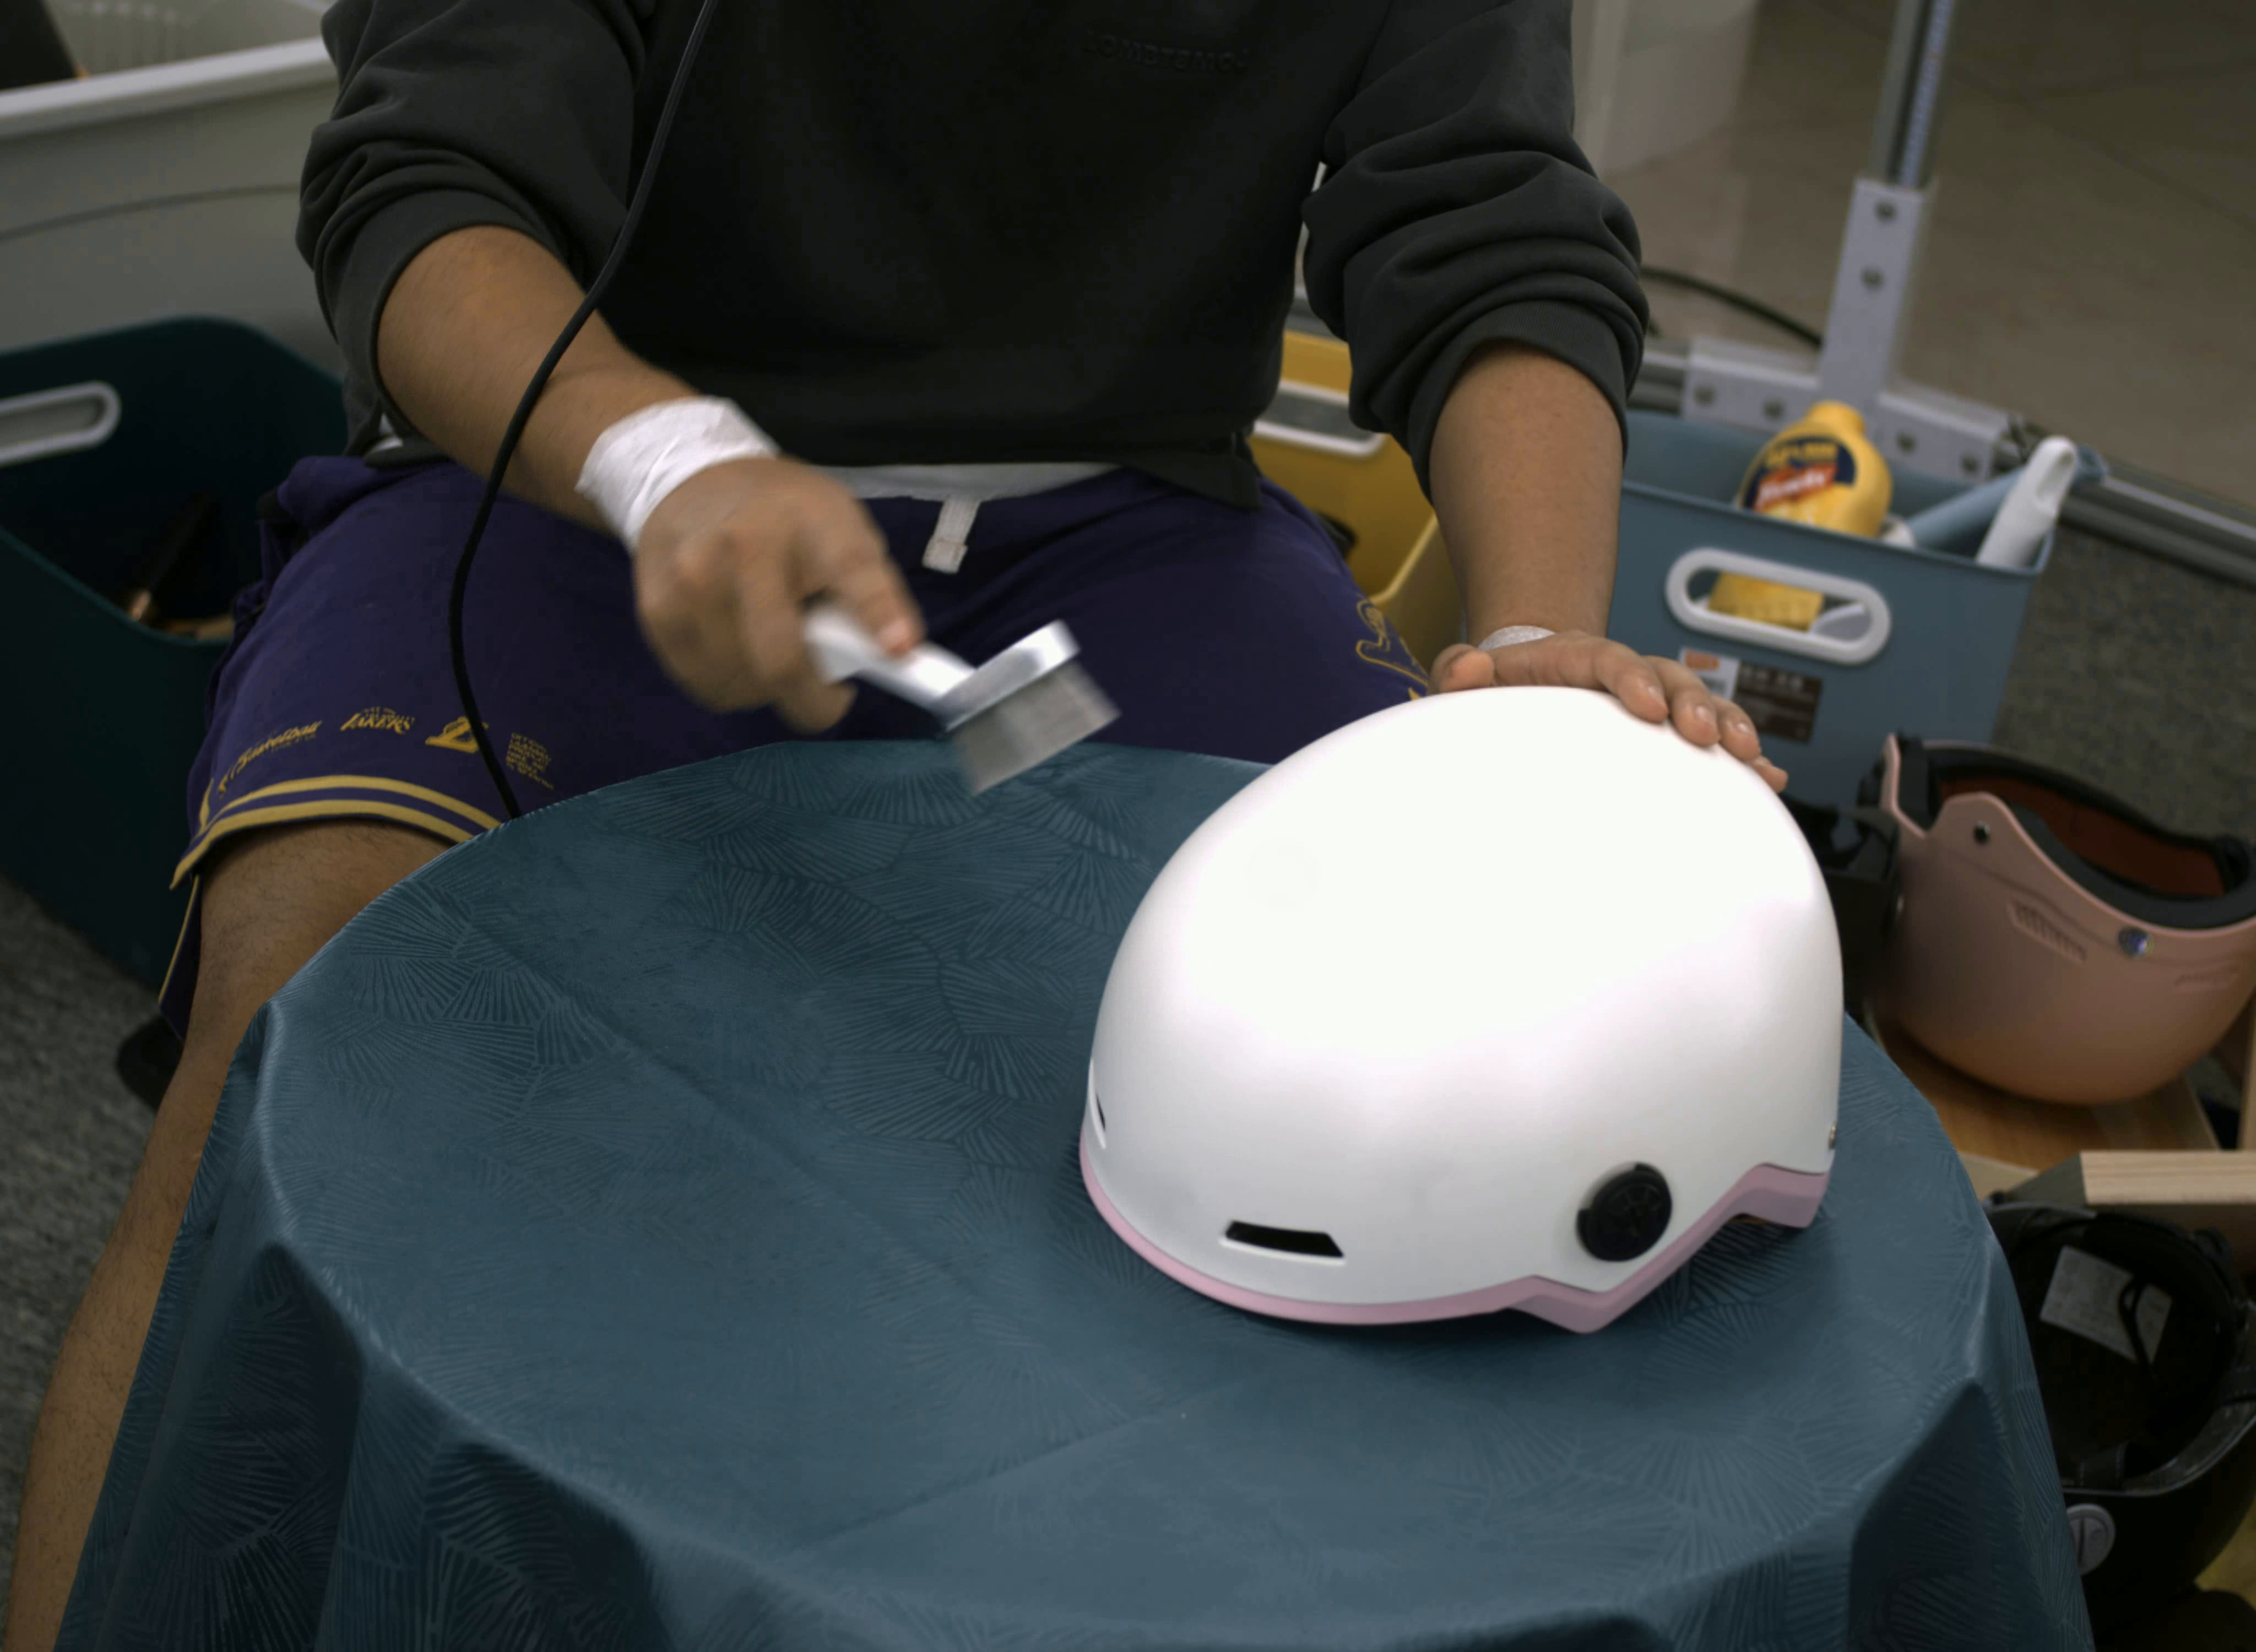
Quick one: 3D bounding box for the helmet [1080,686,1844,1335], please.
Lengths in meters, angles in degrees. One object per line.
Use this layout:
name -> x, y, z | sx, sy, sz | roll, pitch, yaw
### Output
helmet -> 0.120, 0.047, 1.800 | 0.267, 0.166, 0.239 | -12, 33, -32

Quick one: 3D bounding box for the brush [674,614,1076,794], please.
brush -> -0.086, -0.041, 1.748 | 0.034, 0.050, 0.245 | -31, 18, -23
